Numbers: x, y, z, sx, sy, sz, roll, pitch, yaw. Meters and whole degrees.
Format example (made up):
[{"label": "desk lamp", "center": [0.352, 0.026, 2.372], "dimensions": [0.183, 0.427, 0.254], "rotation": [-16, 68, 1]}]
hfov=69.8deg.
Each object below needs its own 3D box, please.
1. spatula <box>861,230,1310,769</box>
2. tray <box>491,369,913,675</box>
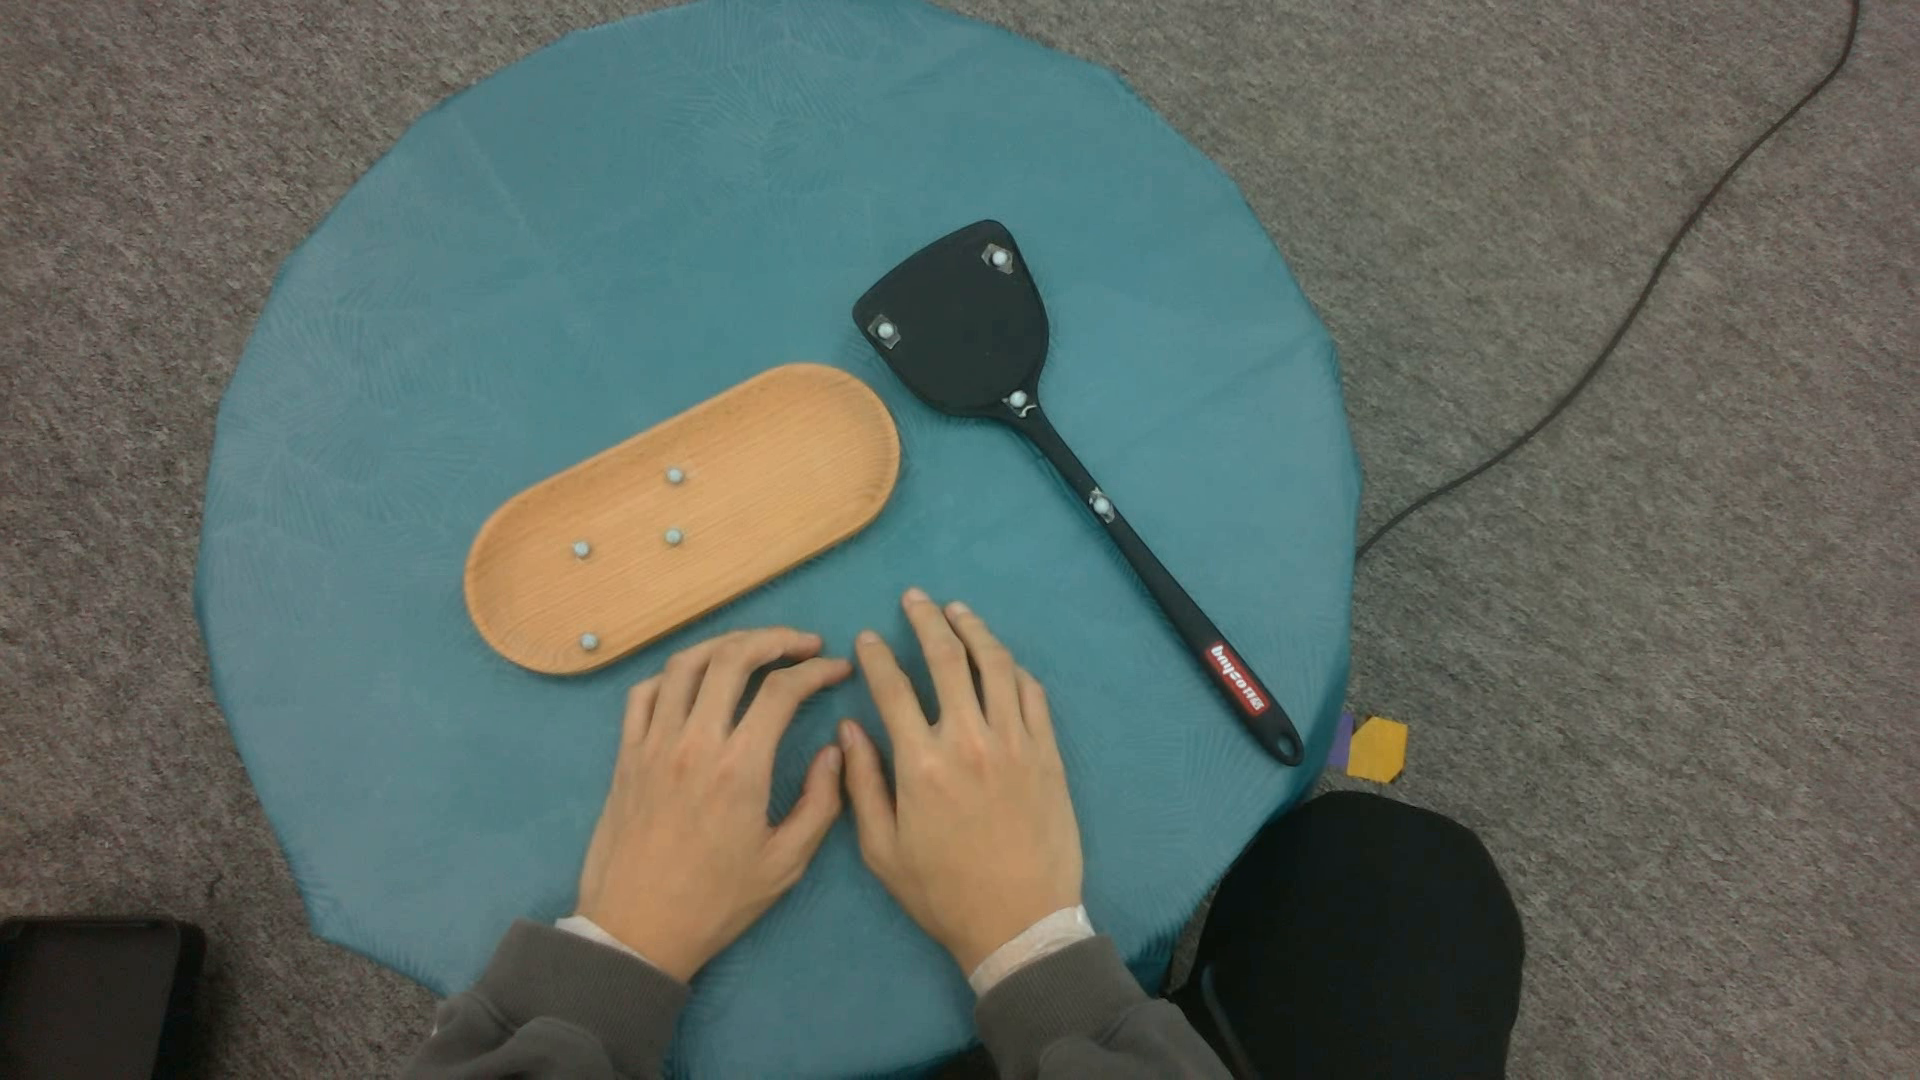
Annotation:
[{"label": "spatula", "center": [0.076, -0.017, 0.713], "dimensions": [0.100, 0.040, 0.326], "rotation": [-35, 76, -10]}, {"label": "tray", "center": [-0.132, -0.011, 0.719], "dimensions": [0.231, 0.020, 0.102], "rotation": [-28, 75, -10]}]
